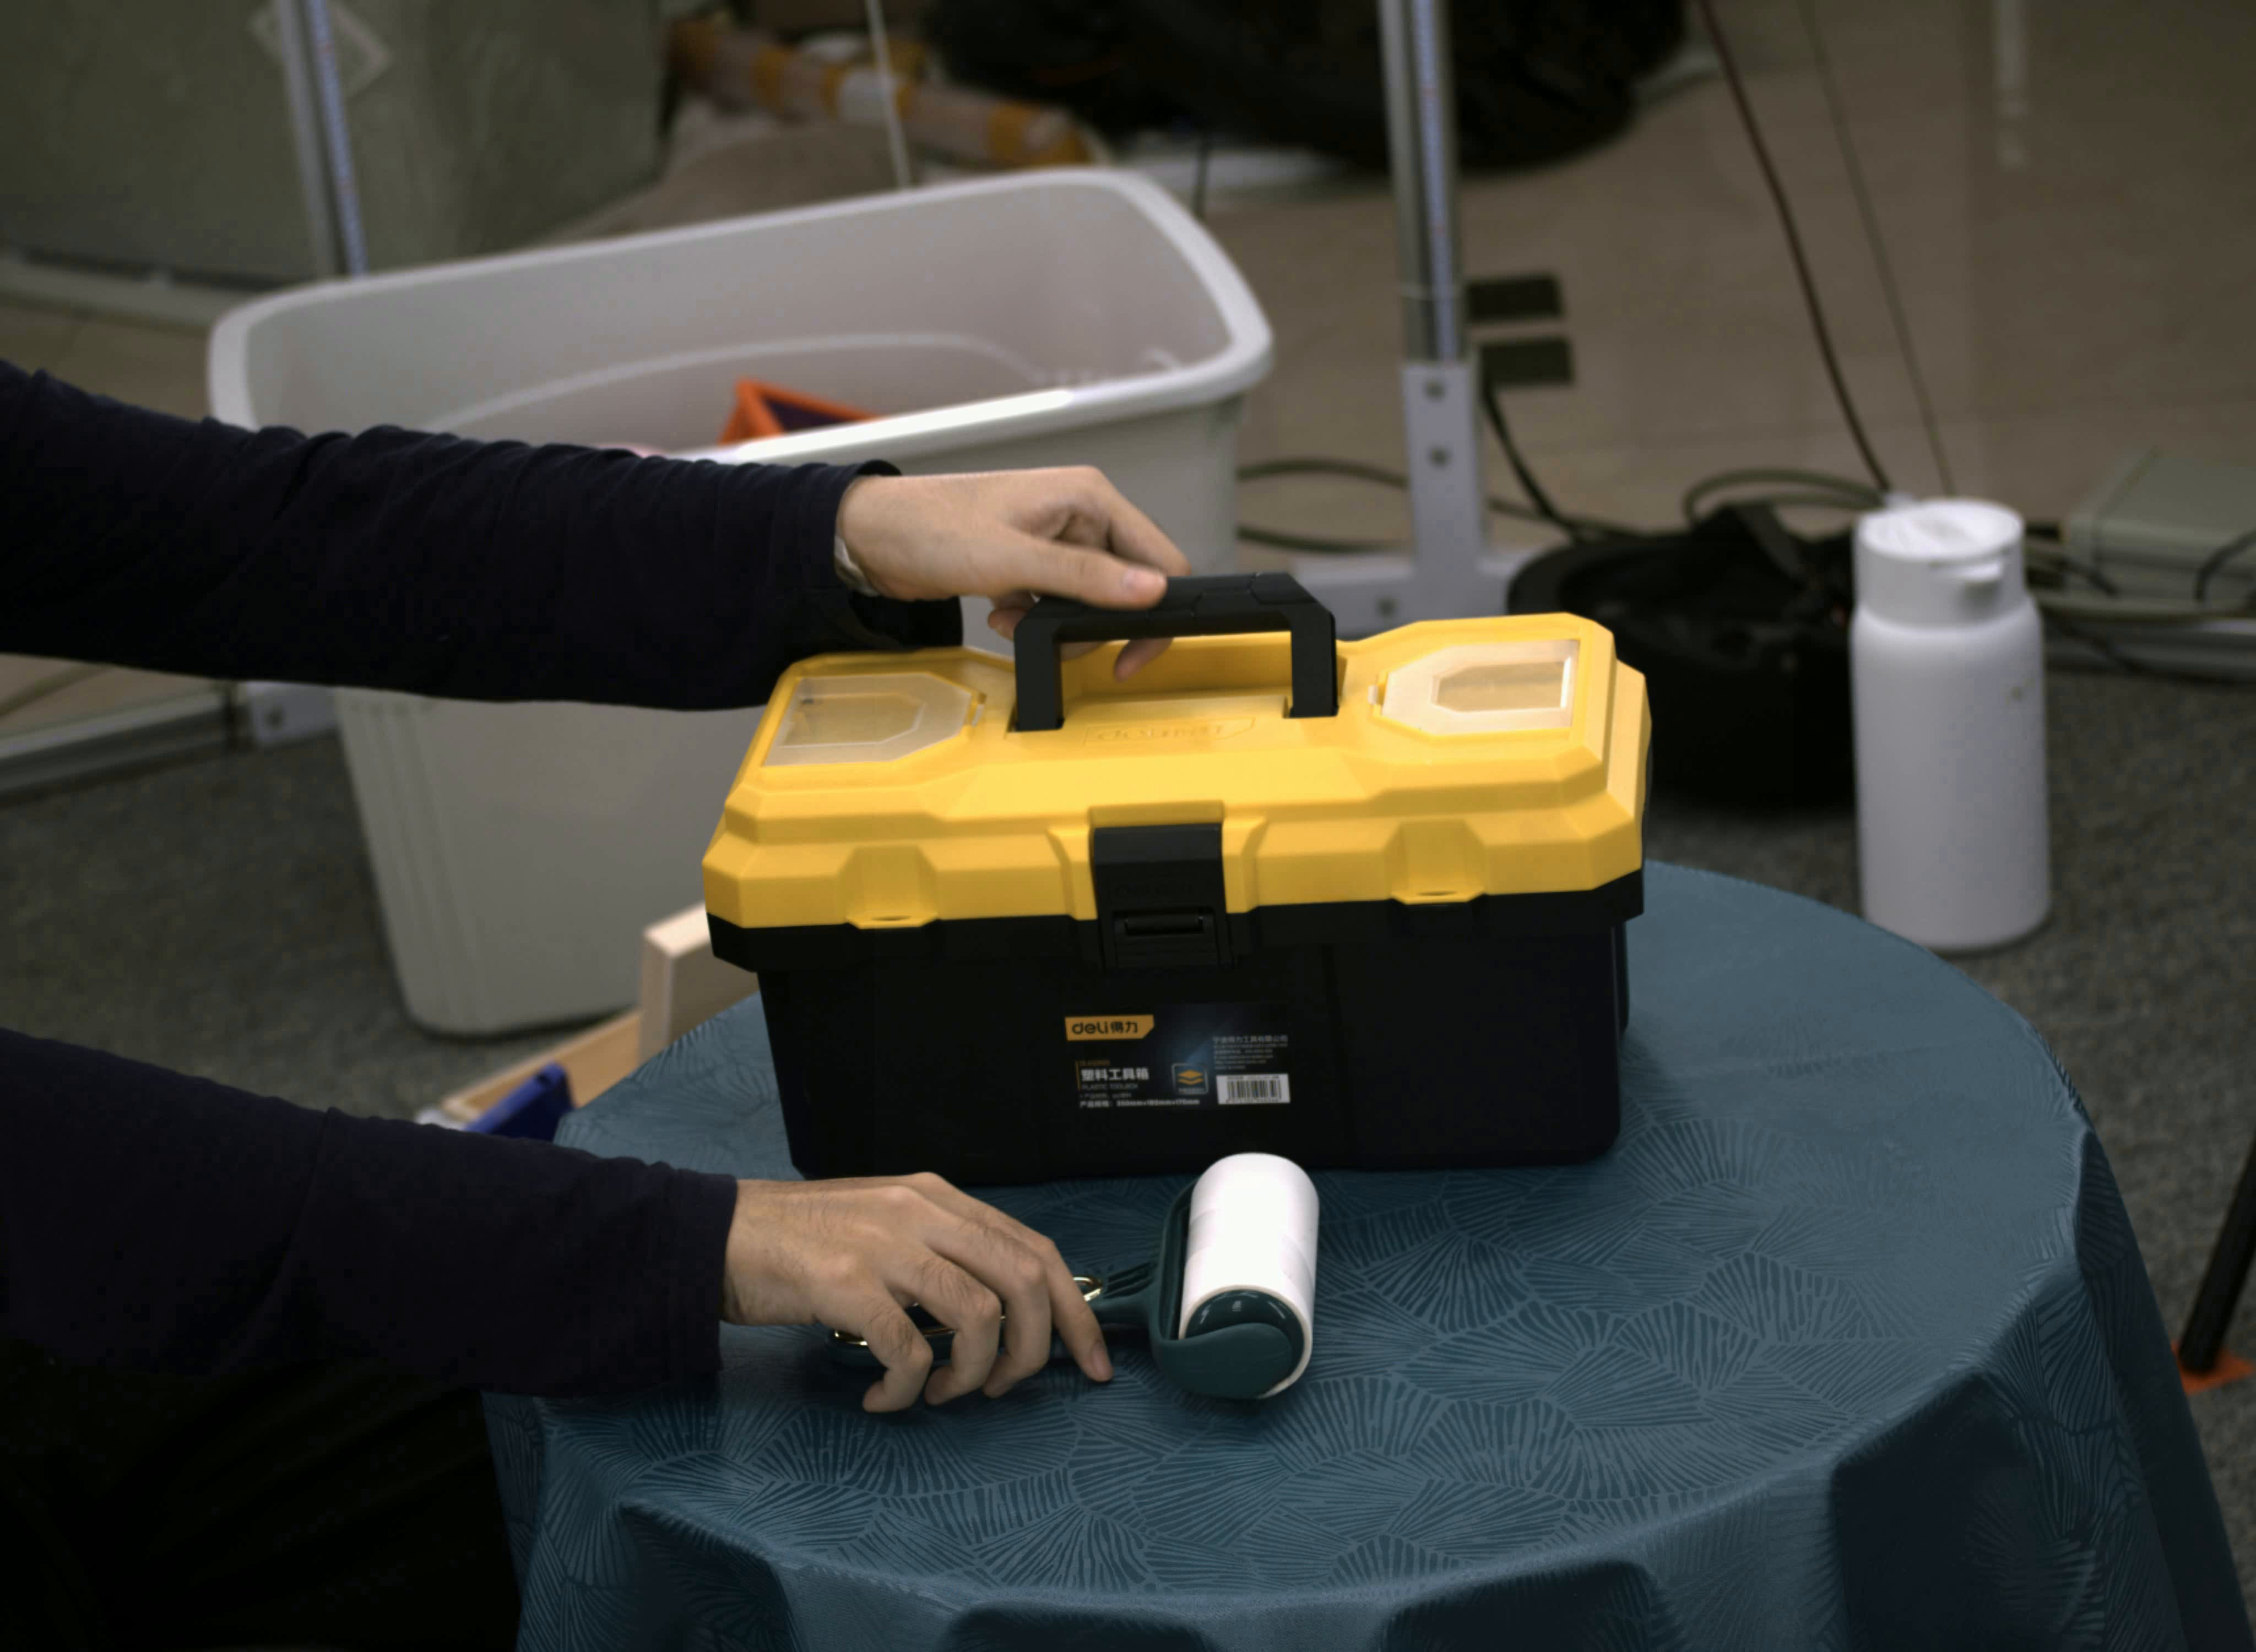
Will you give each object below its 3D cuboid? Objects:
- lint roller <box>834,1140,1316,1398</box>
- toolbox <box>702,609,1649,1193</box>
[{"bbox_3d":[-0.022,0.169,2.044,0.180,0.049,0.132,-8,25,7],"label":"lint roller"},{"bbox_3d":[0.025,0.031,2.168,0.351,0.175,0.179,-3,25,8],"label":"toolbox"}]
